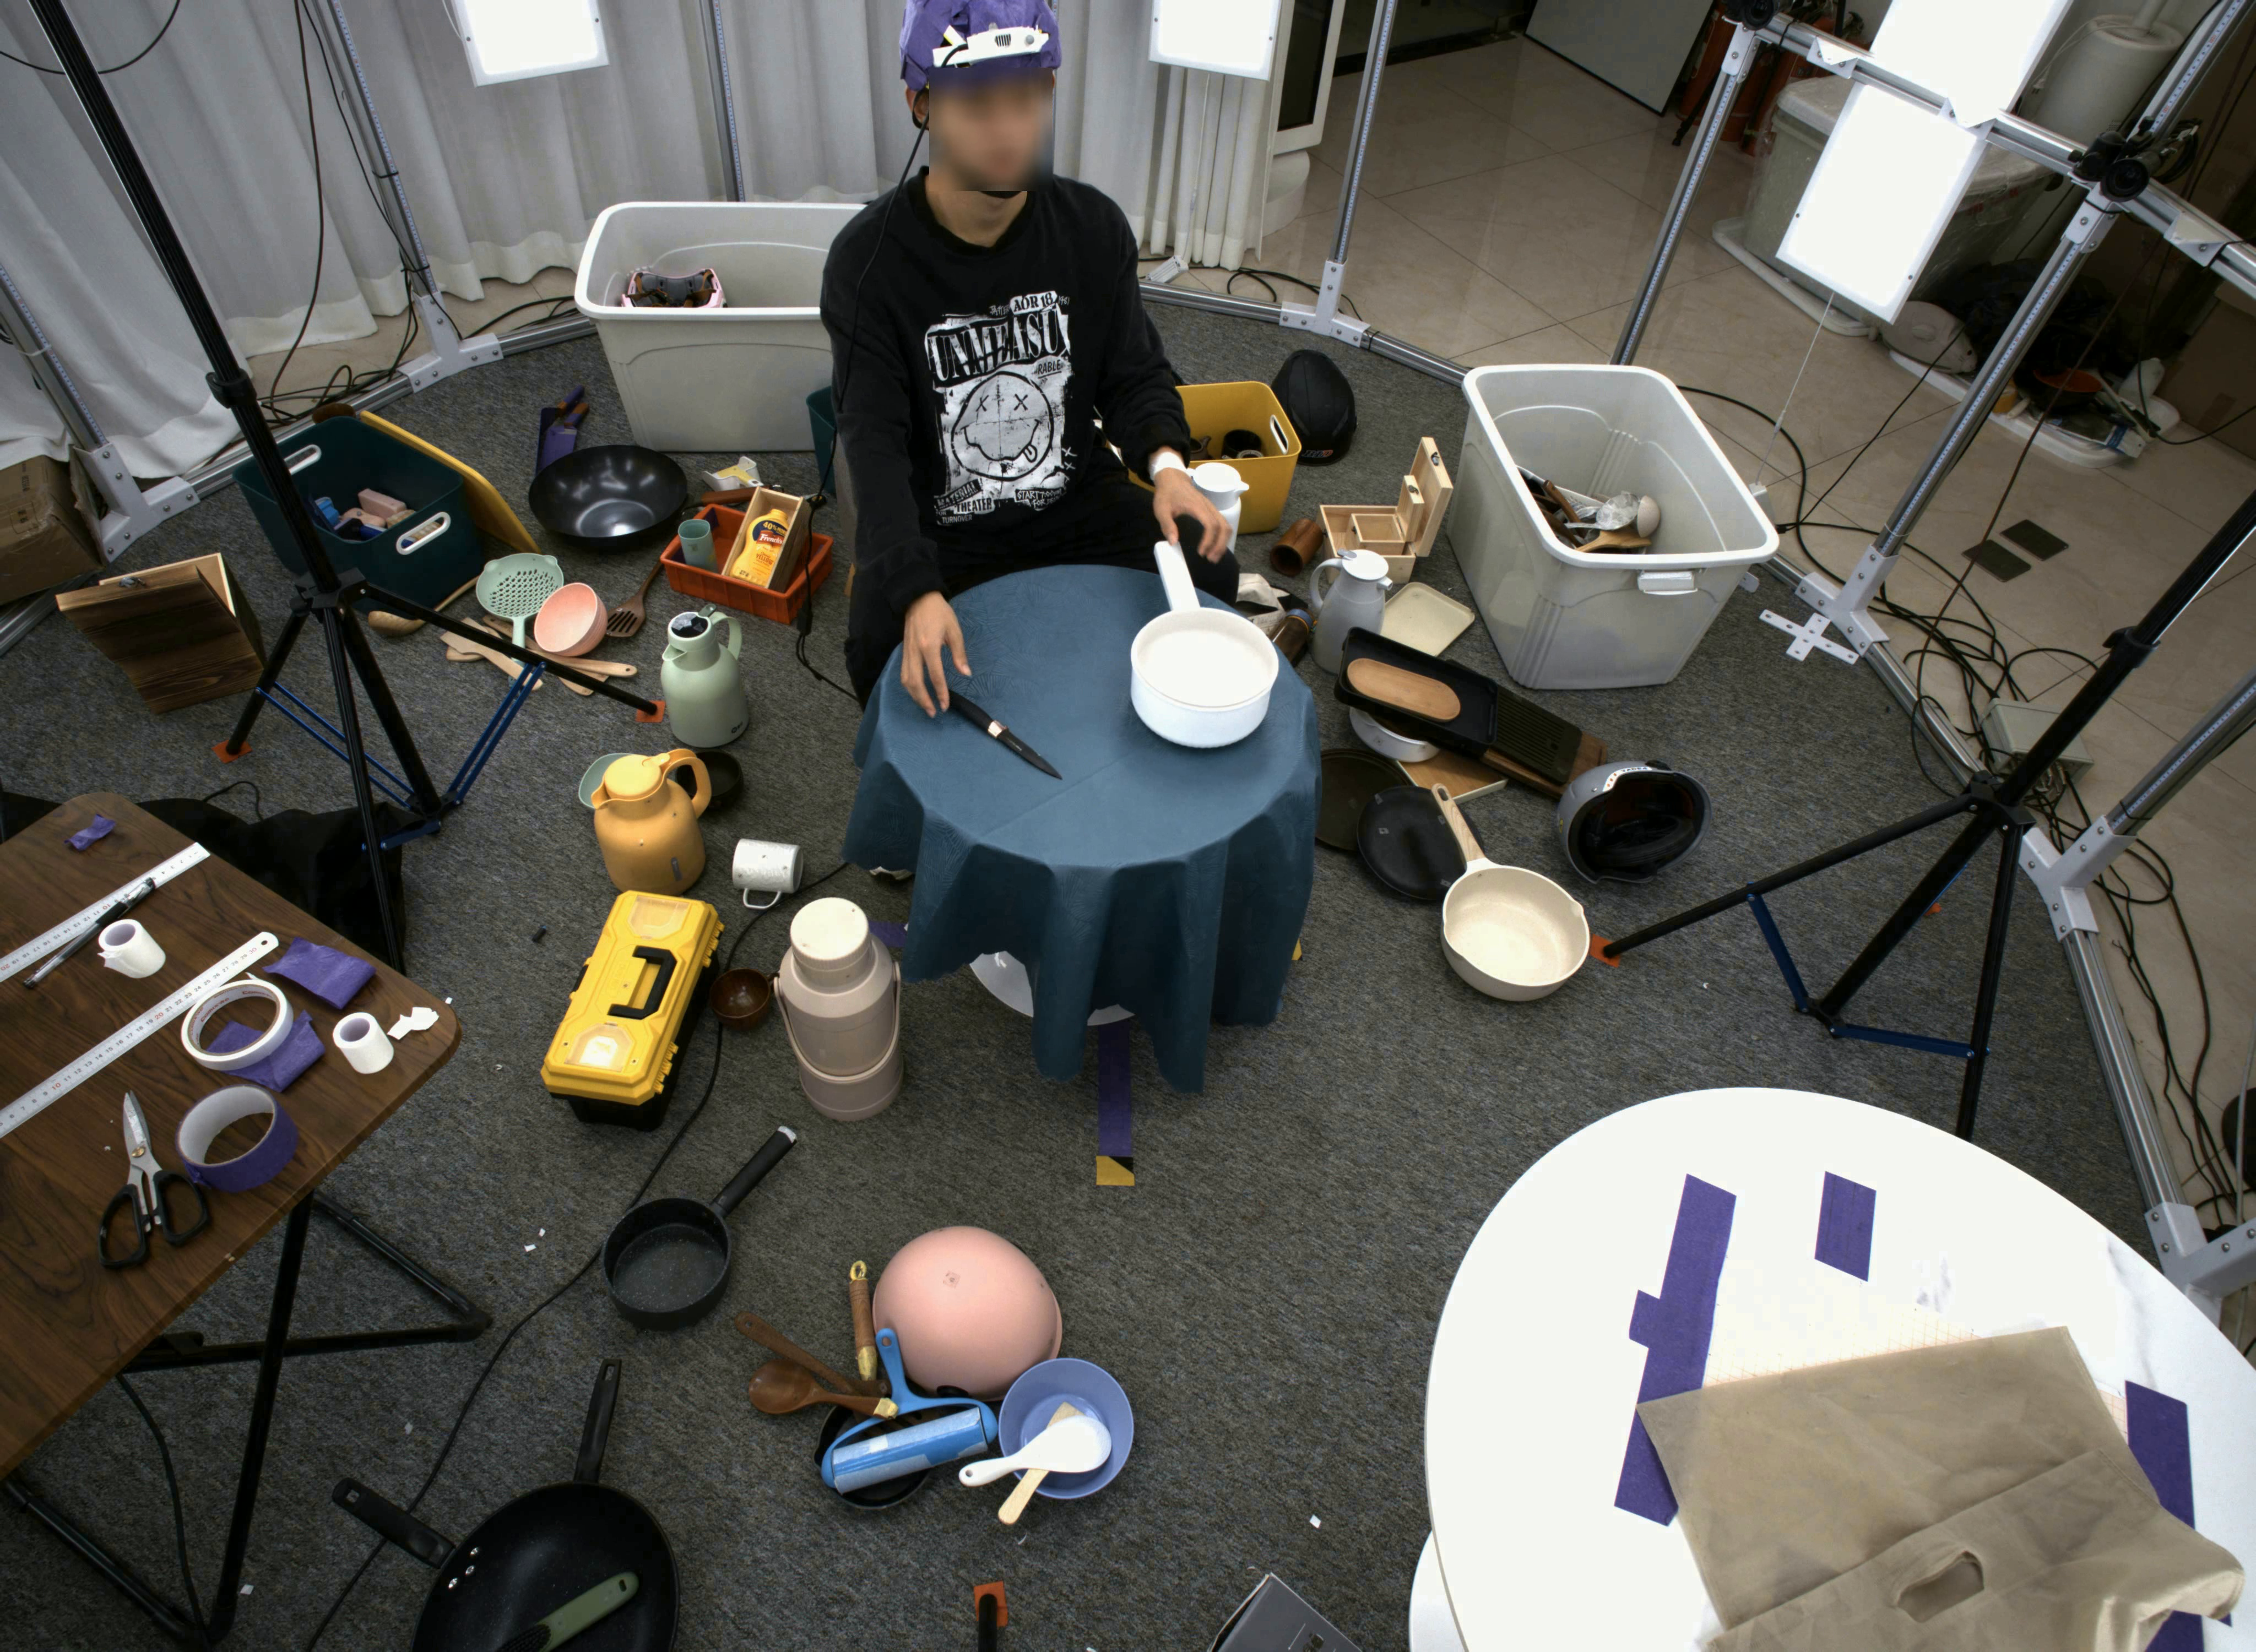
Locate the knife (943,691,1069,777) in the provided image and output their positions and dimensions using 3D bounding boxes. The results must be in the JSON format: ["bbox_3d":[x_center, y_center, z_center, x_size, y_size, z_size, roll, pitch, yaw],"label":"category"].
[{"bbox_3d":[-0.169,-0.125,1.762,0.228,0.017,0.026,36,41,23],"label":"knife"}]

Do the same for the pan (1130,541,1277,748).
[{"bbox_3d":[0.089,-0.260,1.837,0.201,0.099,0.364,-6,49,-7],"label":"pan"}]
